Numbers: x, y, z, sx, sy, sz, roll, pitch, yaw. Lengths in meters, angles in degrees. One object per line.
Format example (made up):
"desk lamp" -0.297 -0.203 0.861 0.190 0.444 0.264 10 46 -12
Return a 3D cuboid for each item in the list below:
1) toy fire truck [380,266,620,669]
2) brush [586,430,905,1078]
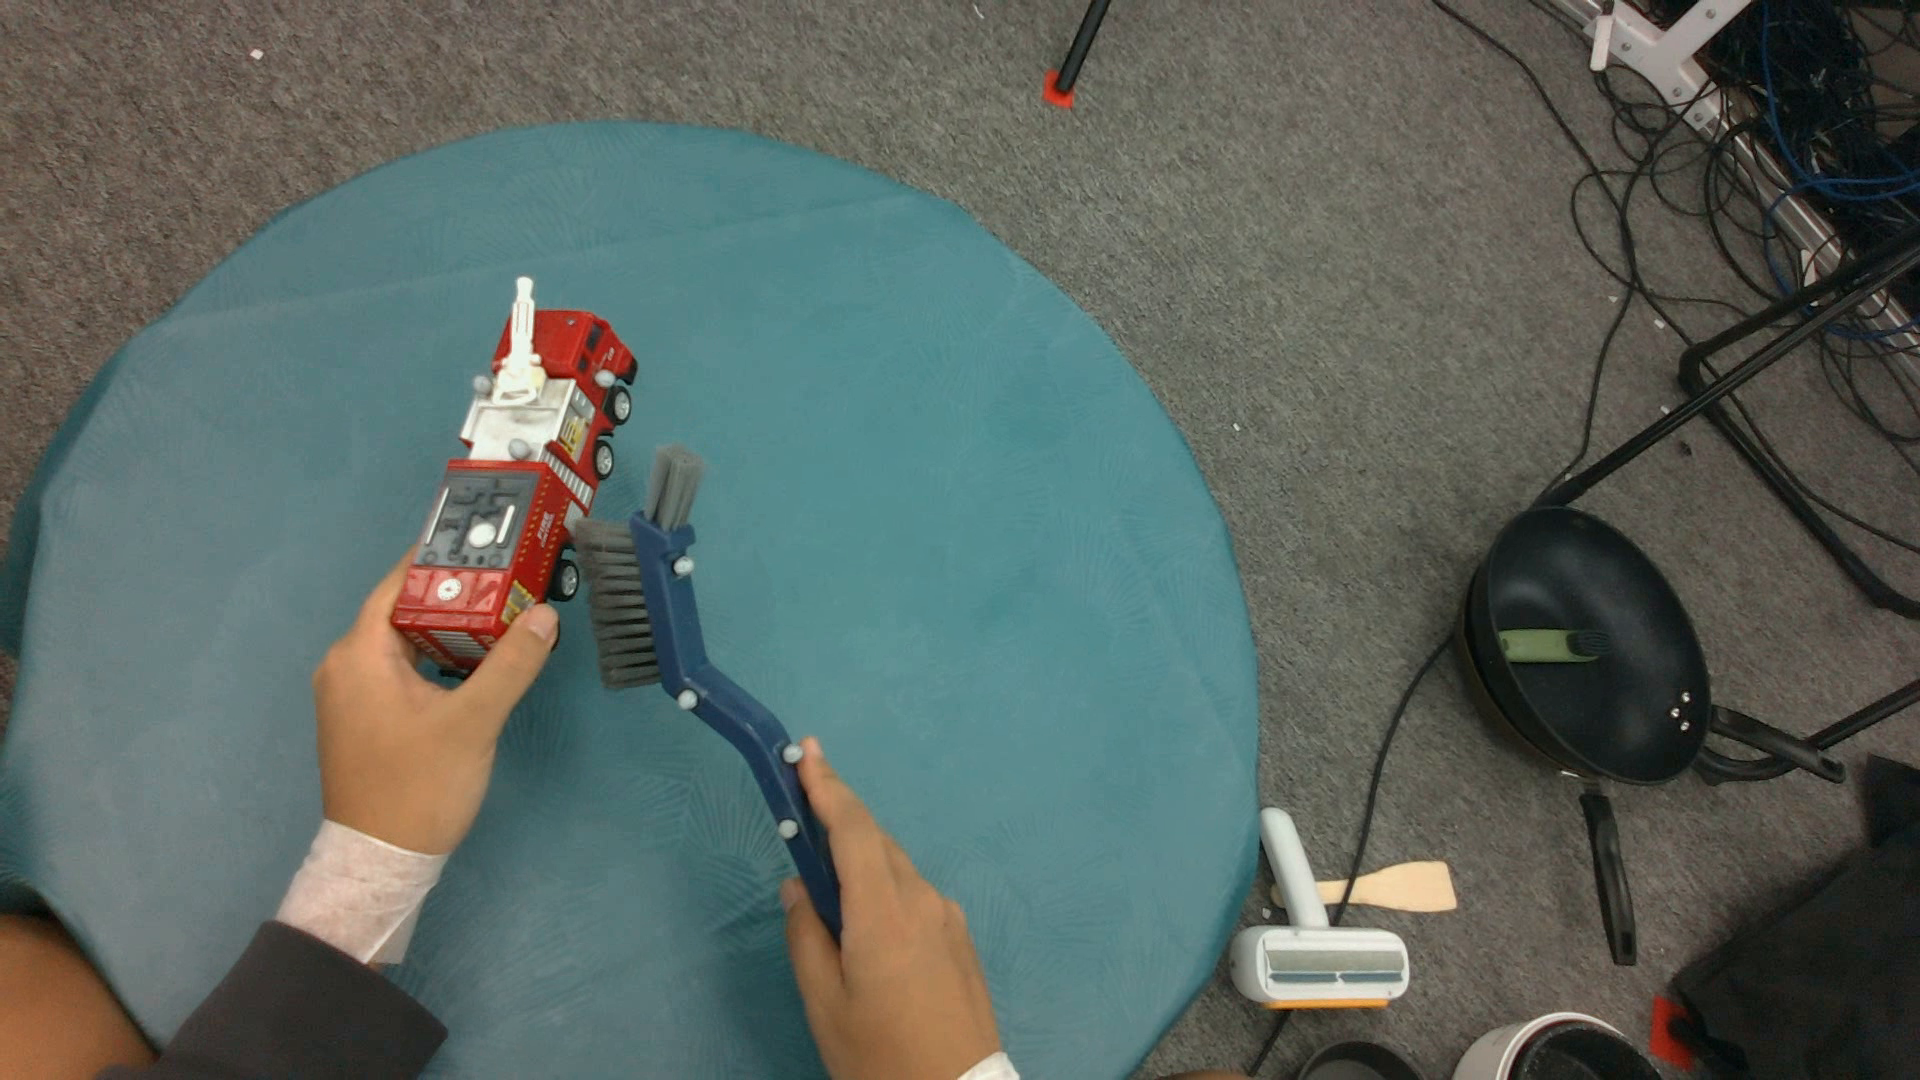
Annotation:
"toy fire truck" -0.193 -0.030 0.588 0.054 0.070 0.168 1 63 11
"brush" -0.075 0.092 0.579 0.095 0.033 0.273 -32 91 12
